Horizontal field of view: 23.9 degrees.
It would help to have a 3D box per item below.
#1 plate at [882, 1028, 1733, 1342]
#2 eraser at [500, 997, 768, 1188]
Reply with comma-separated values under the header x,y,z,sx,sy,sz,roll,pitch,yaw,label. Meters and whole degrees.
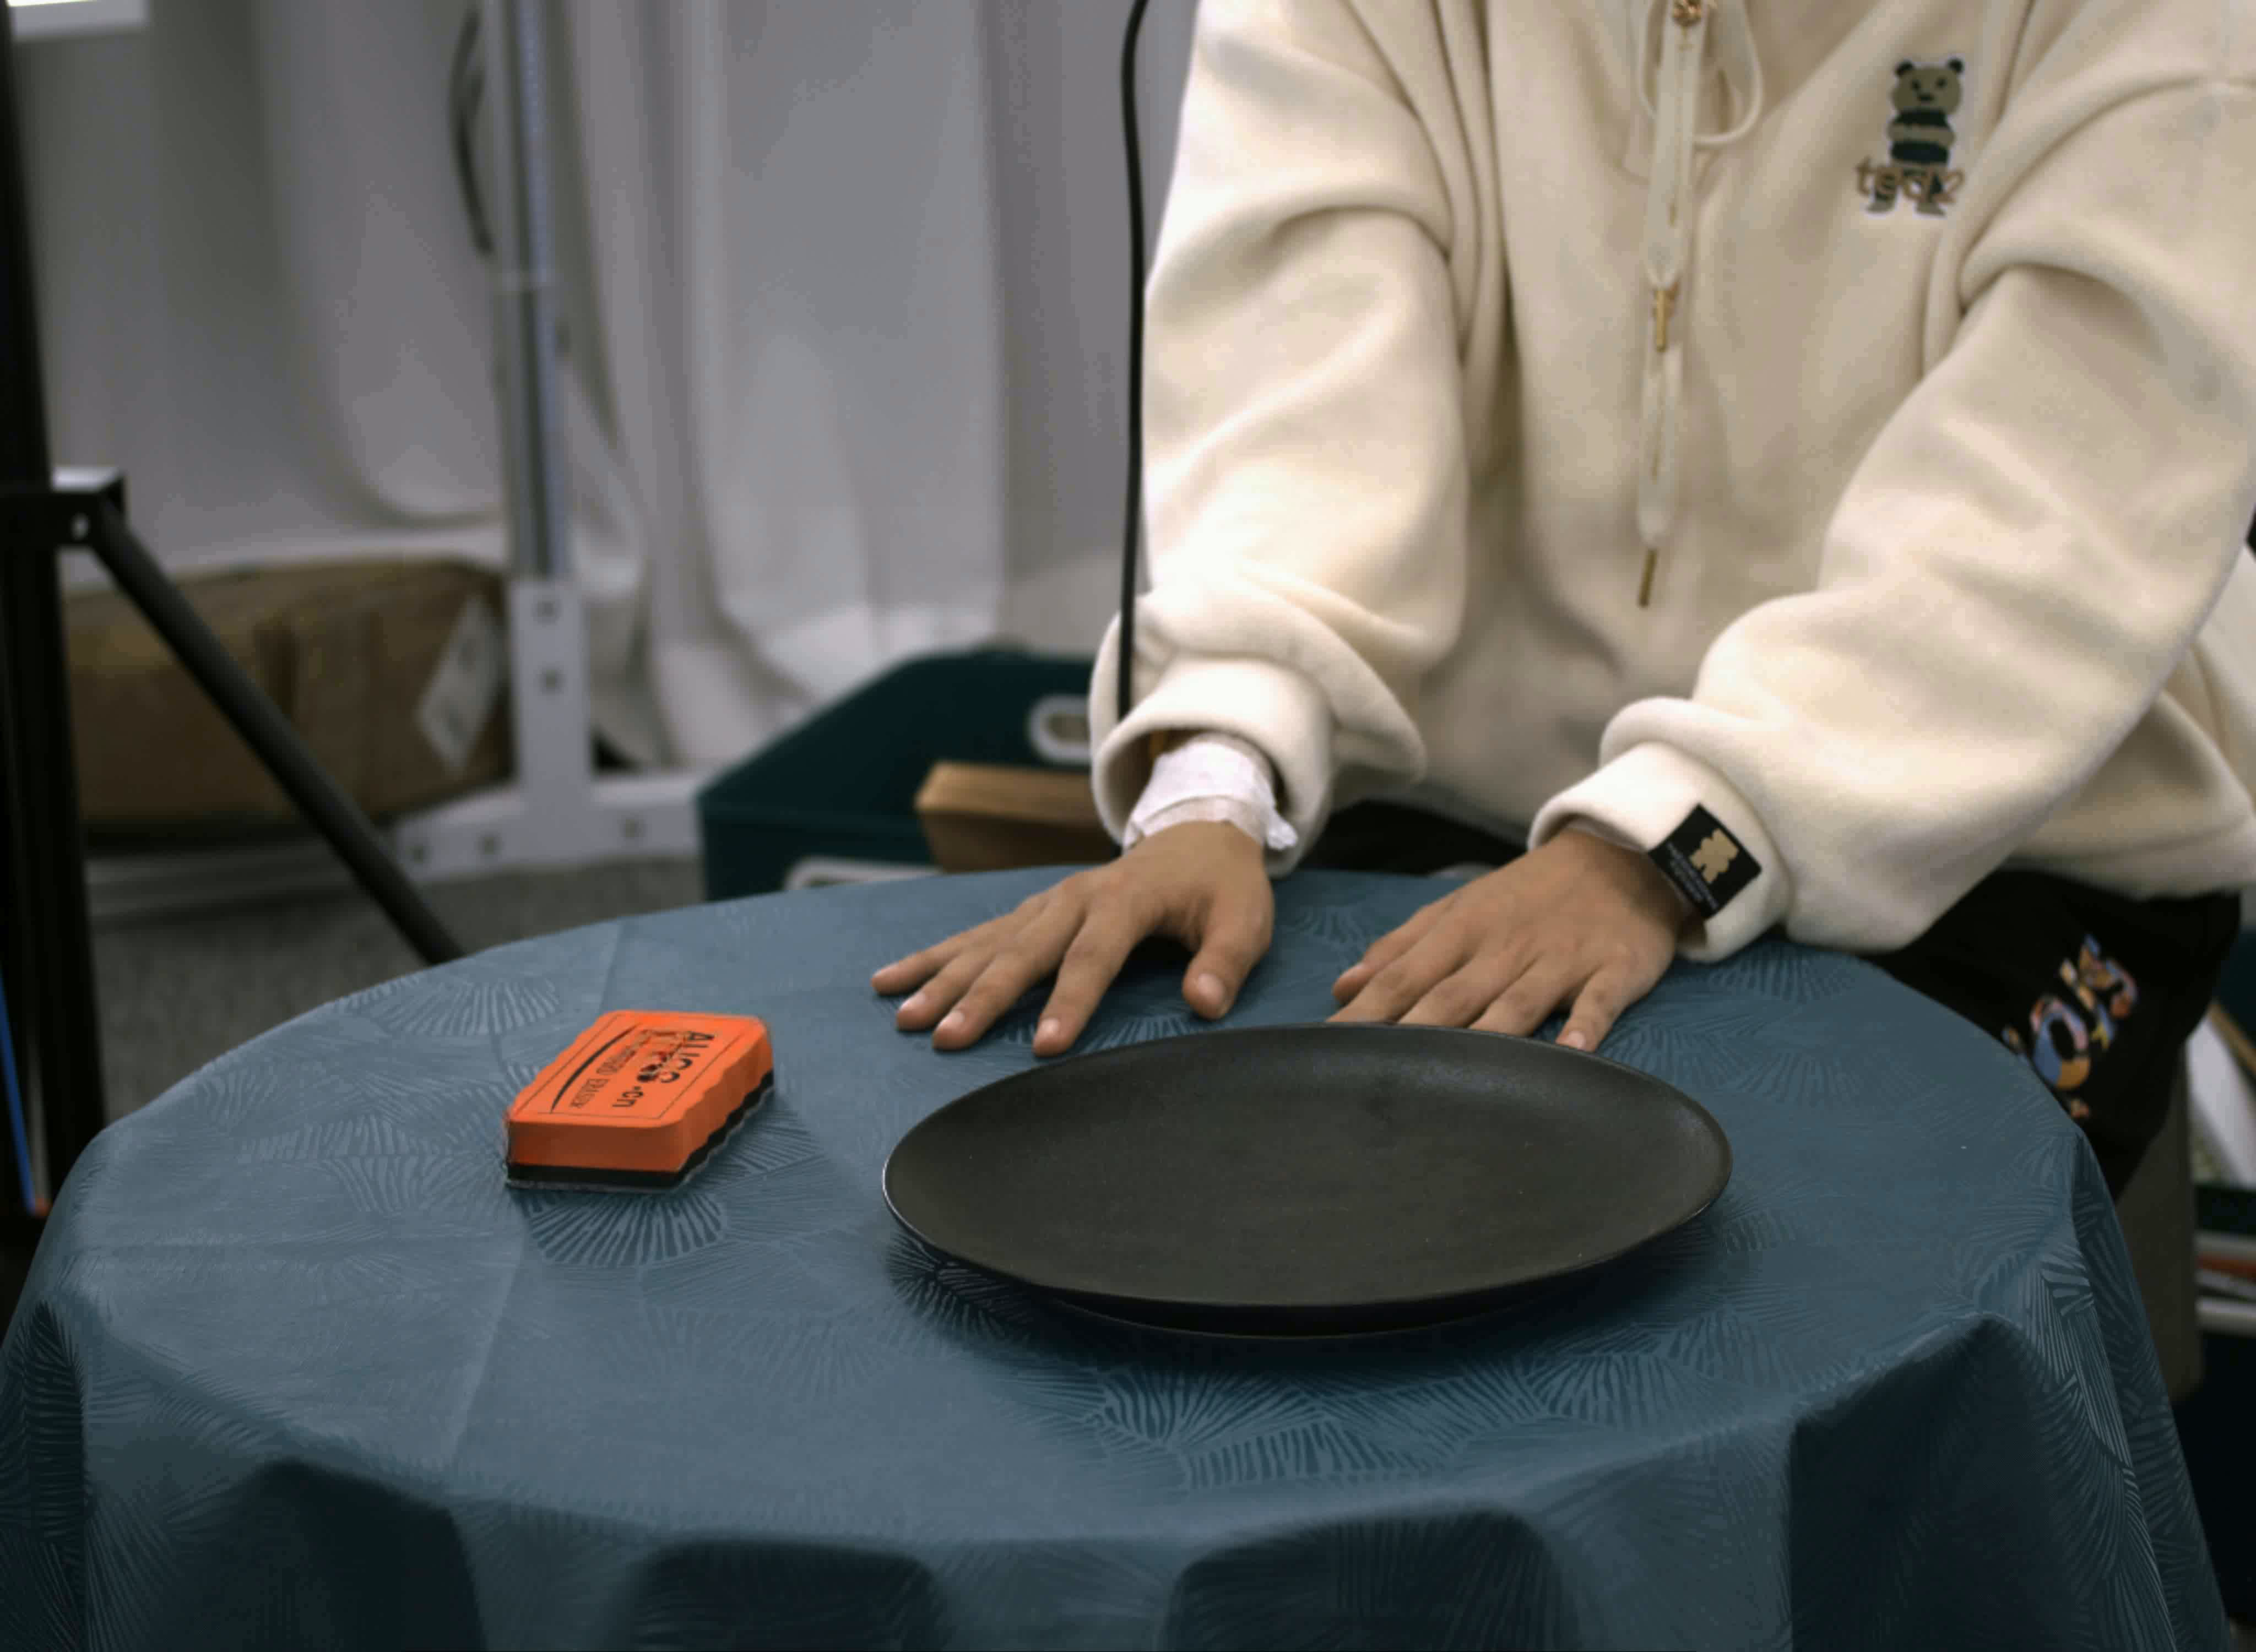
x,y,z,sx,sy,sz,roll,pitch,yaw,label
0.051,0.105,1.518,0.243,0.023,0.245,-3,16,-1,plate
-0.149,0.081,1.626,0.059,0.023,0.107,0,18,14,eraser
